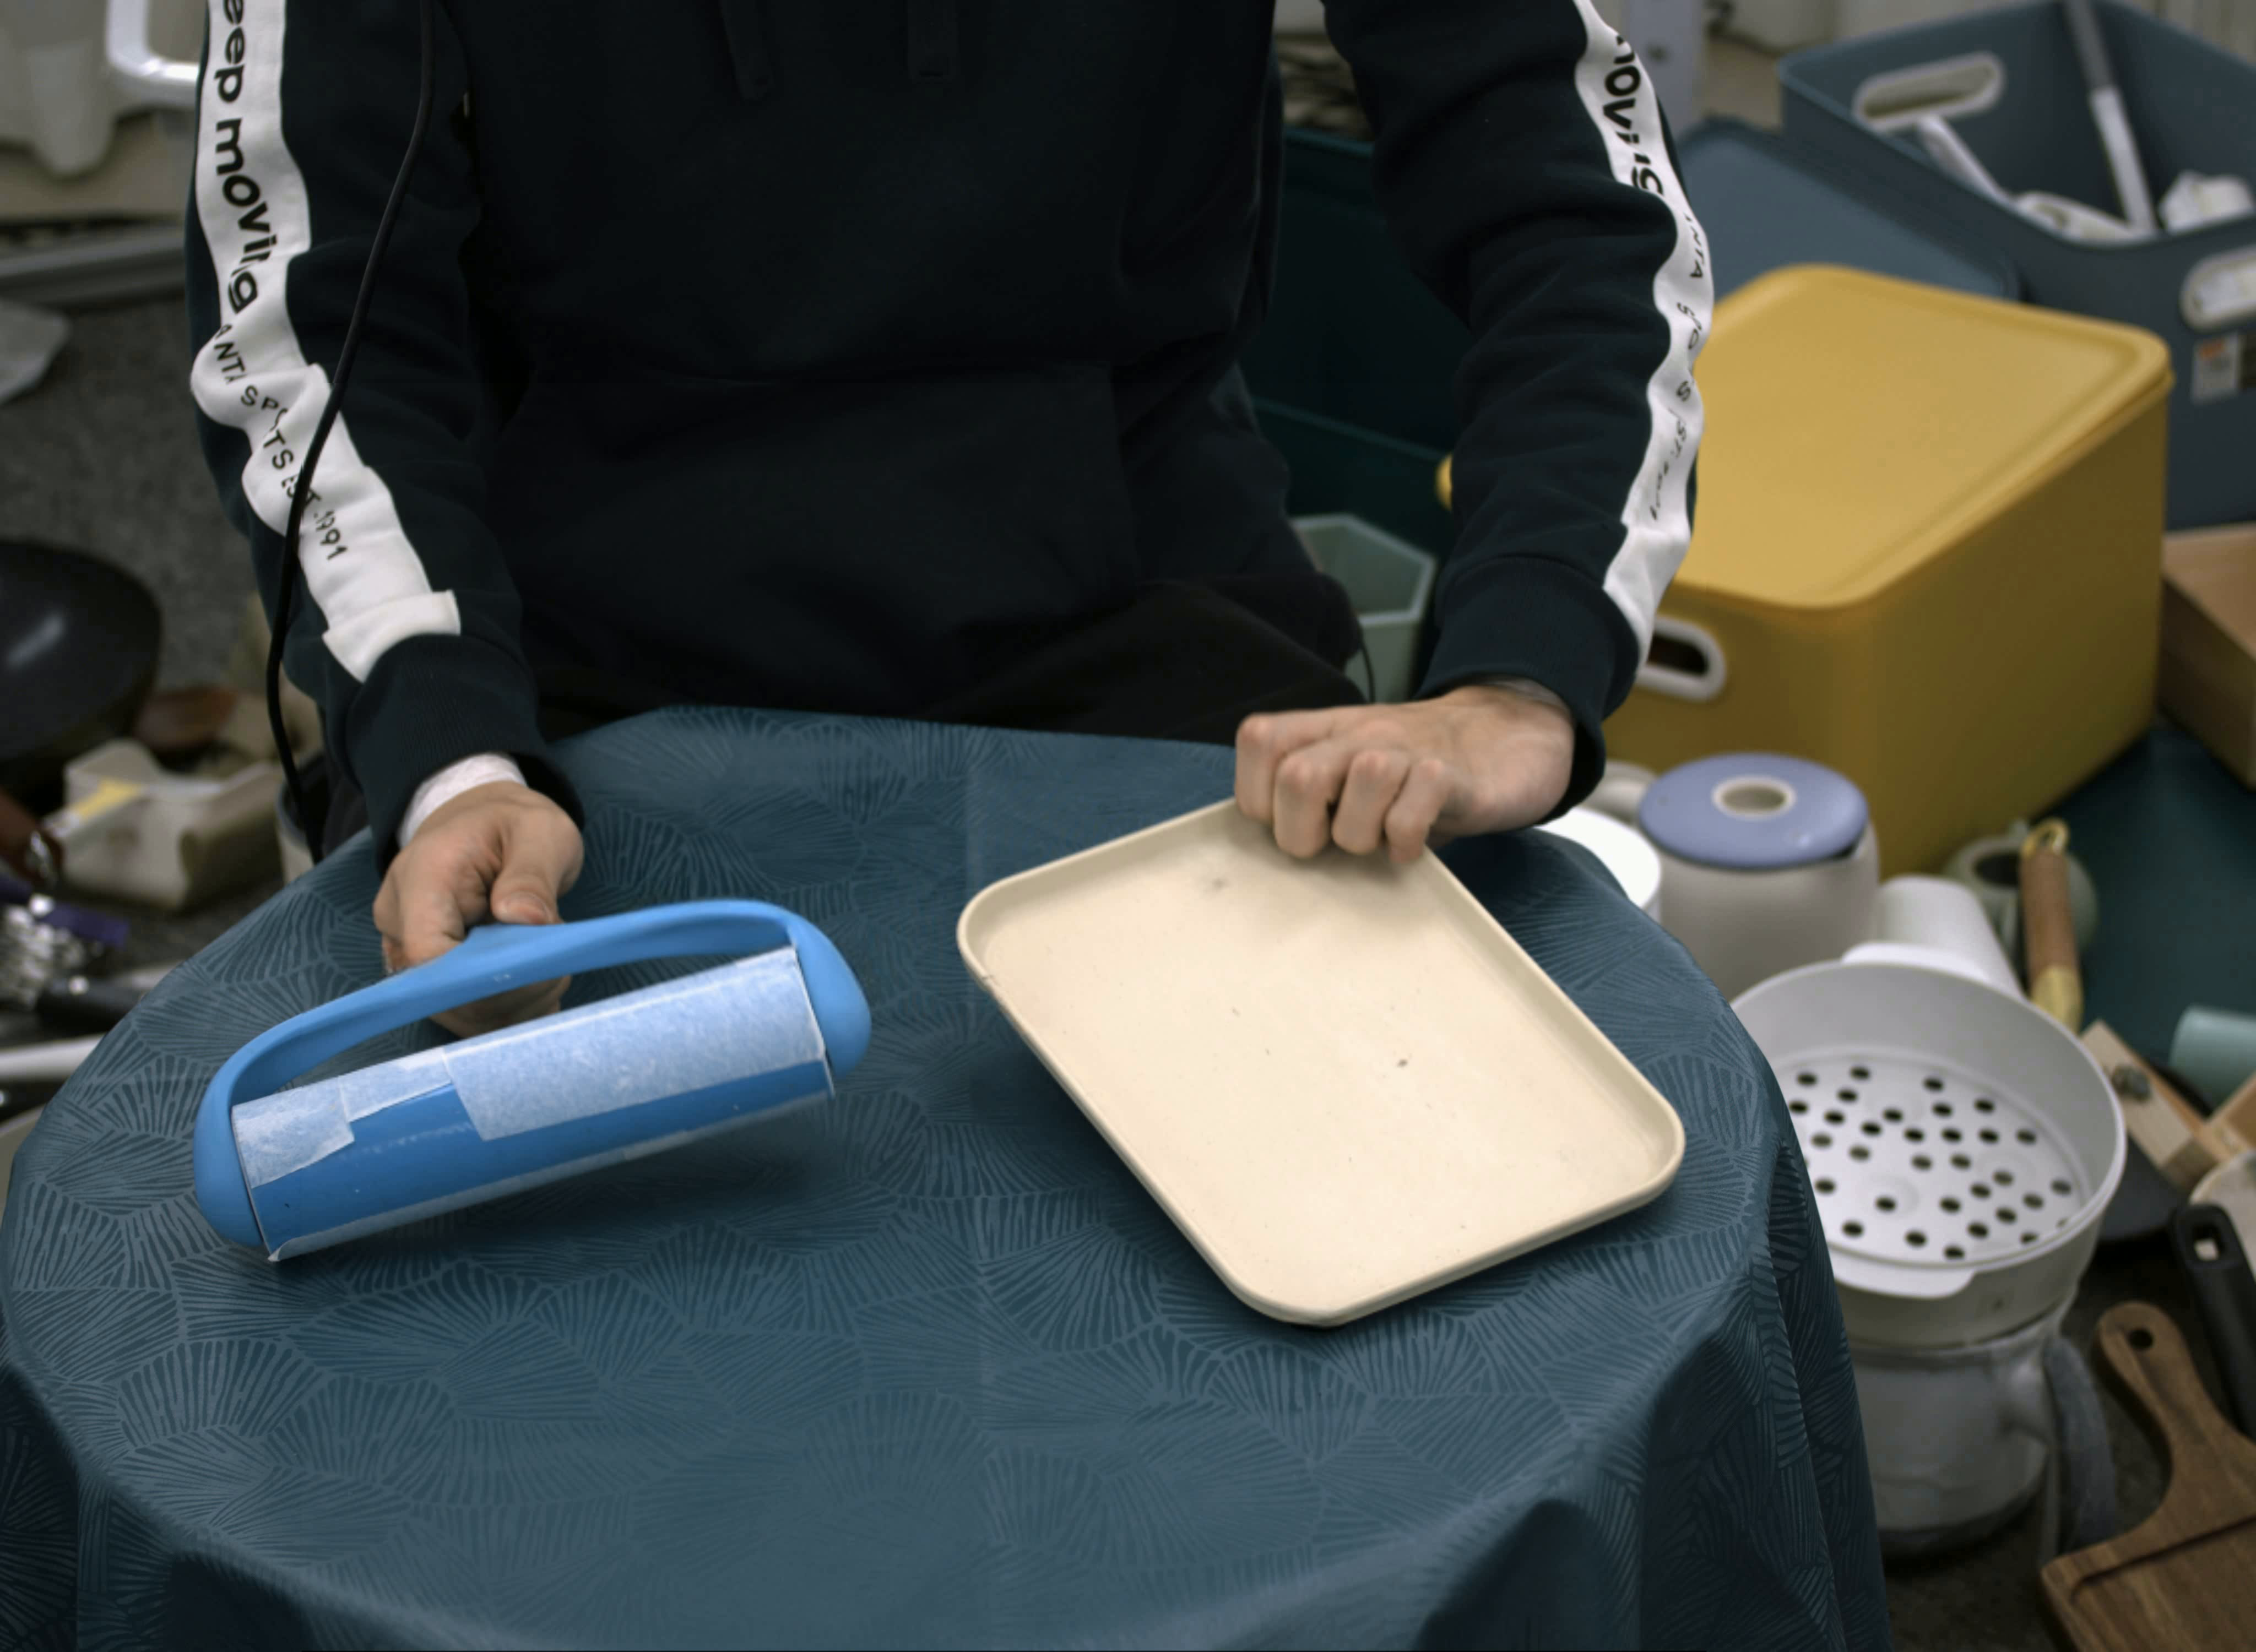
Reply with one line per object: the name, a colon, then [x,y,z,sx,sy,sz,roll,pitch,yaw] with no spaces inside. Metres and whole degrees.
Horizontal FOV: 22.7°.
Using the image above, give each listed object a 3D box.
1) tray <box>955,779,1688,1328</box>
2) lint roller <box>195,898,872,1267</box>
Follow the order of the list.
tray: [0.062,0.074,1.877,0.172,0.017,0.242,-18,43,-24]
lint roller: [-0.209,0.068,1.900,0.229,0.067,0.182,-19,26,-8]
